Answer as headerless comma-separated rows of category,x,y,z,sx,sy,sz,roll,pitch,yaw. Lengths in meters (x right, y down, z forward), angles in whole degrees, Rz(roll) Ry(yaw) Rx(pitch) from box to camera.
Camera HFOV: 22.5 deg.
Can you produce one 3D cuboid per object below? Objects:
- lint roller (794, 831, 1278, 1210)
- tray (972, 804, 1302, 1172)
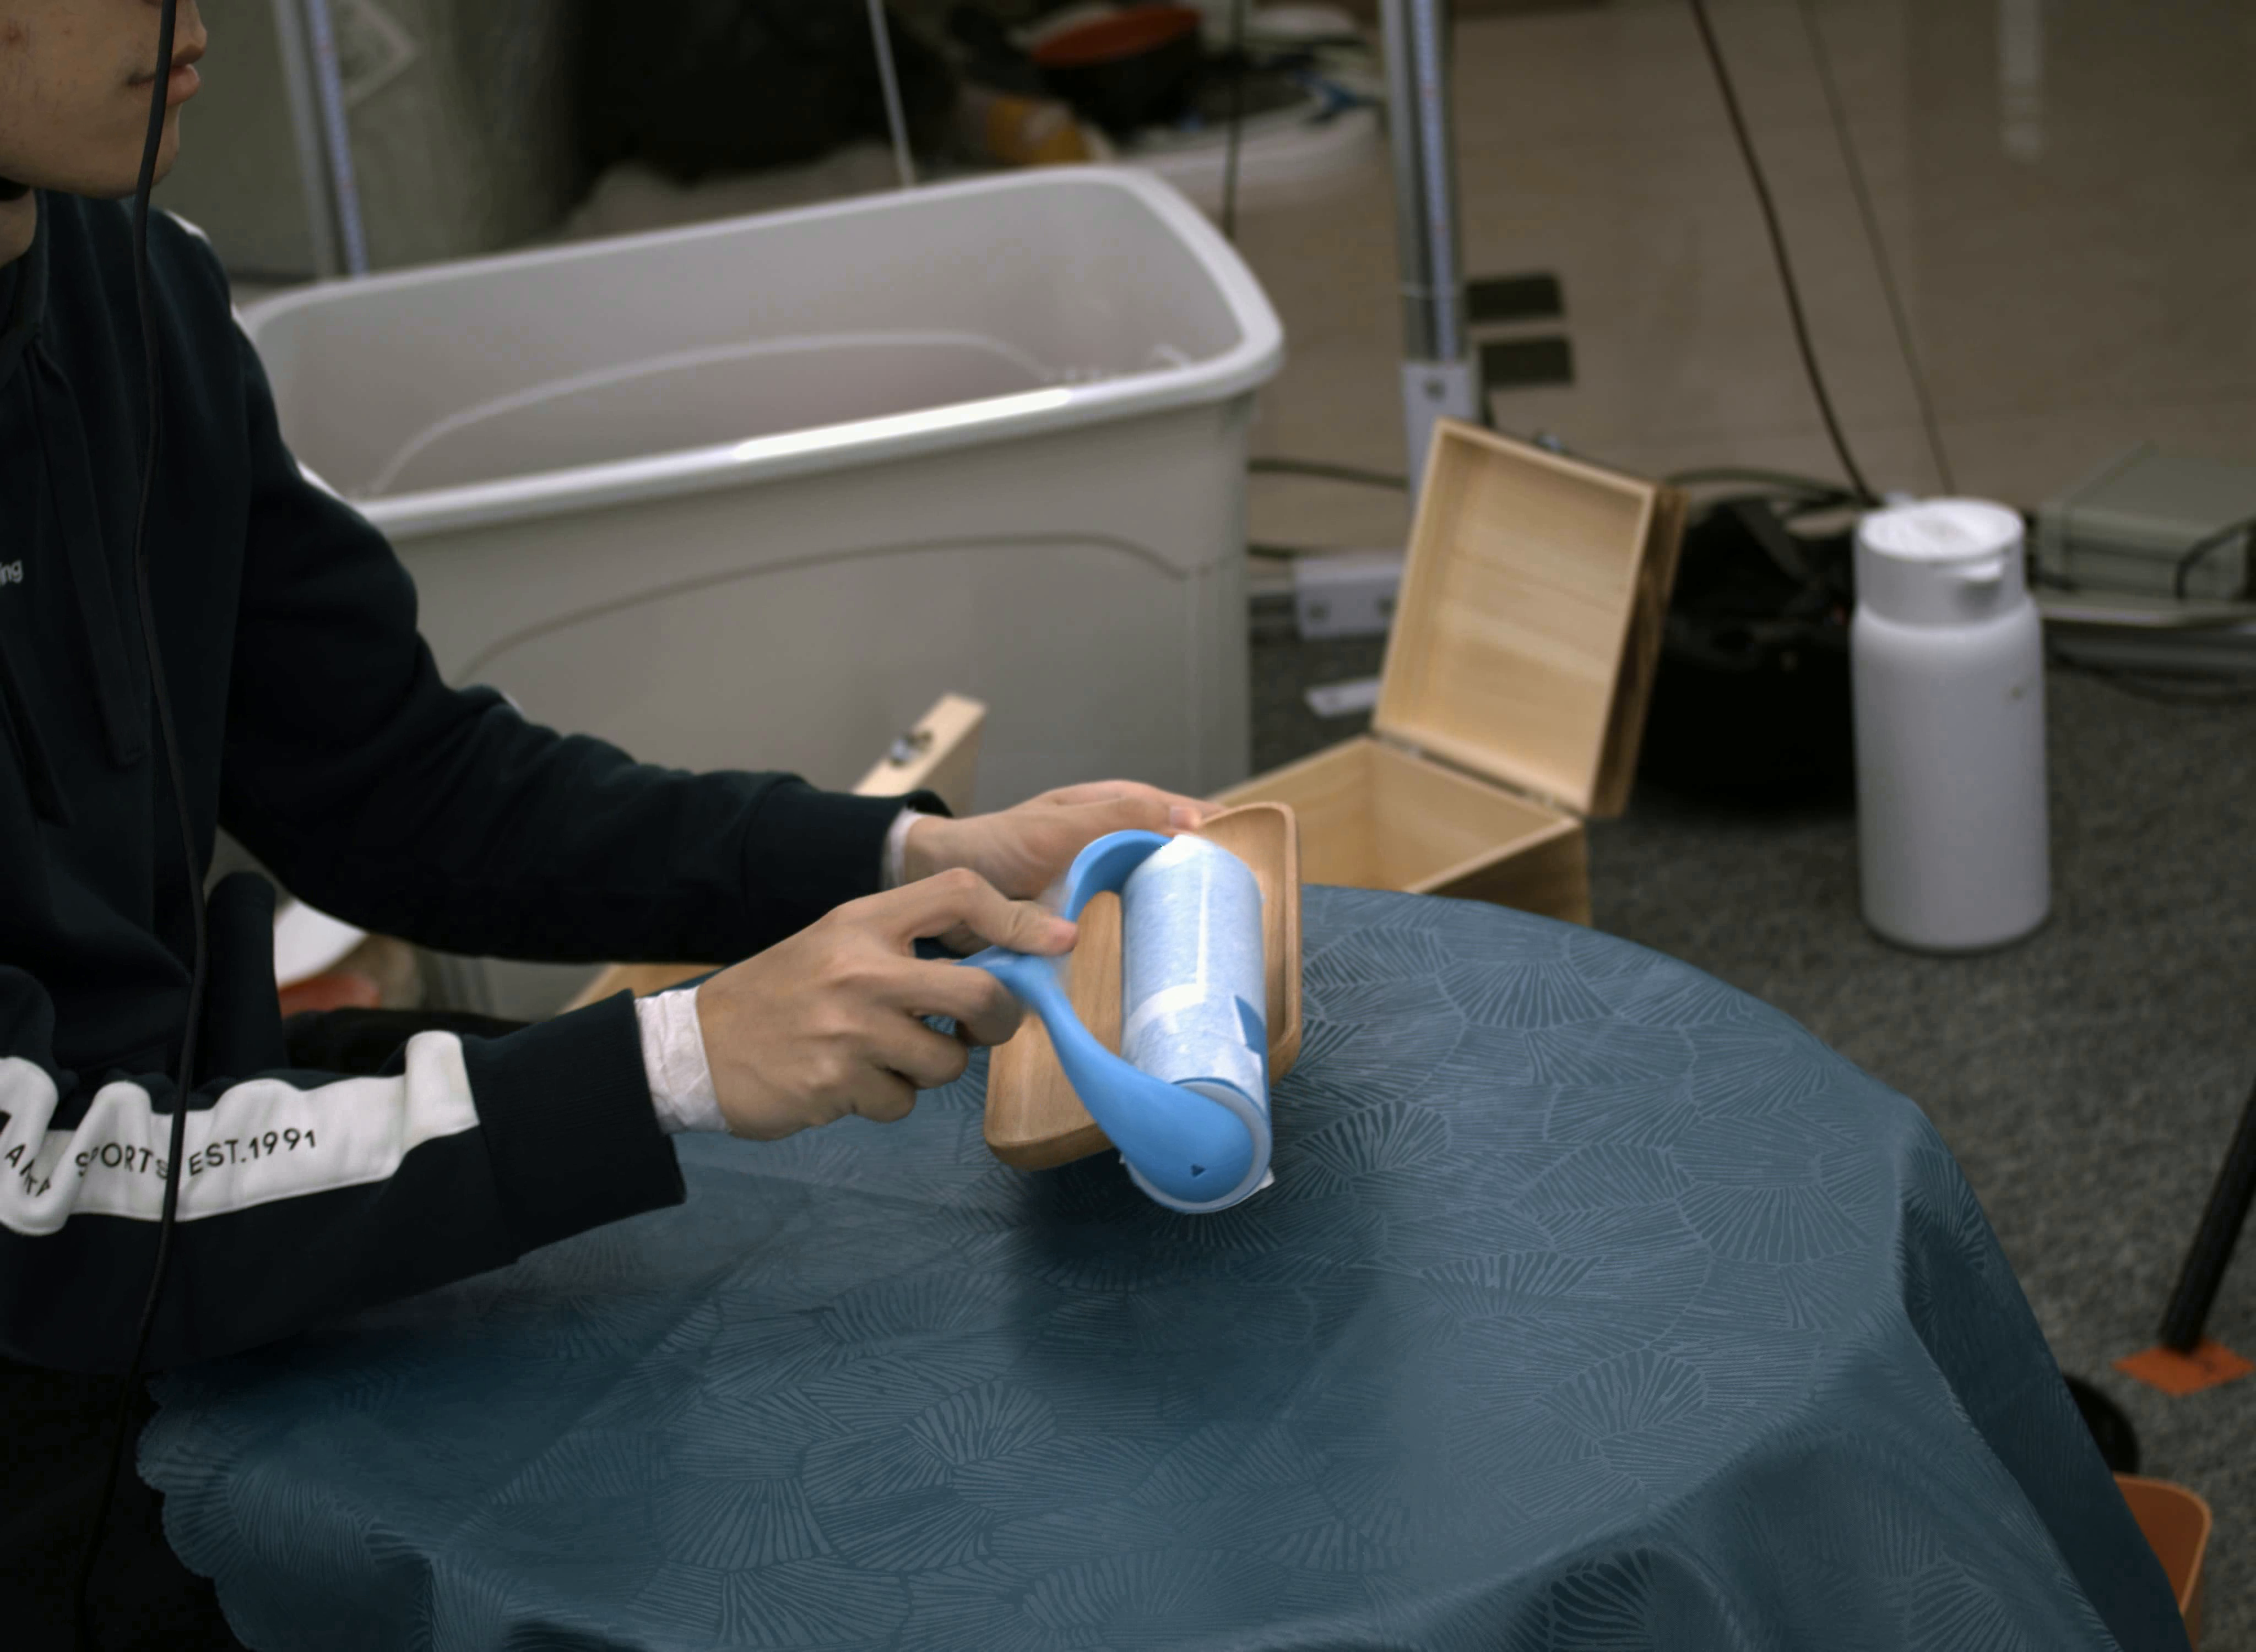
lint roller,-0.035,0.075,2.064,0.180,0.069,0.225,-5,27,0
tray,0.007,0.061,2.194,0.131,0.023,0.247,-22,22,12
